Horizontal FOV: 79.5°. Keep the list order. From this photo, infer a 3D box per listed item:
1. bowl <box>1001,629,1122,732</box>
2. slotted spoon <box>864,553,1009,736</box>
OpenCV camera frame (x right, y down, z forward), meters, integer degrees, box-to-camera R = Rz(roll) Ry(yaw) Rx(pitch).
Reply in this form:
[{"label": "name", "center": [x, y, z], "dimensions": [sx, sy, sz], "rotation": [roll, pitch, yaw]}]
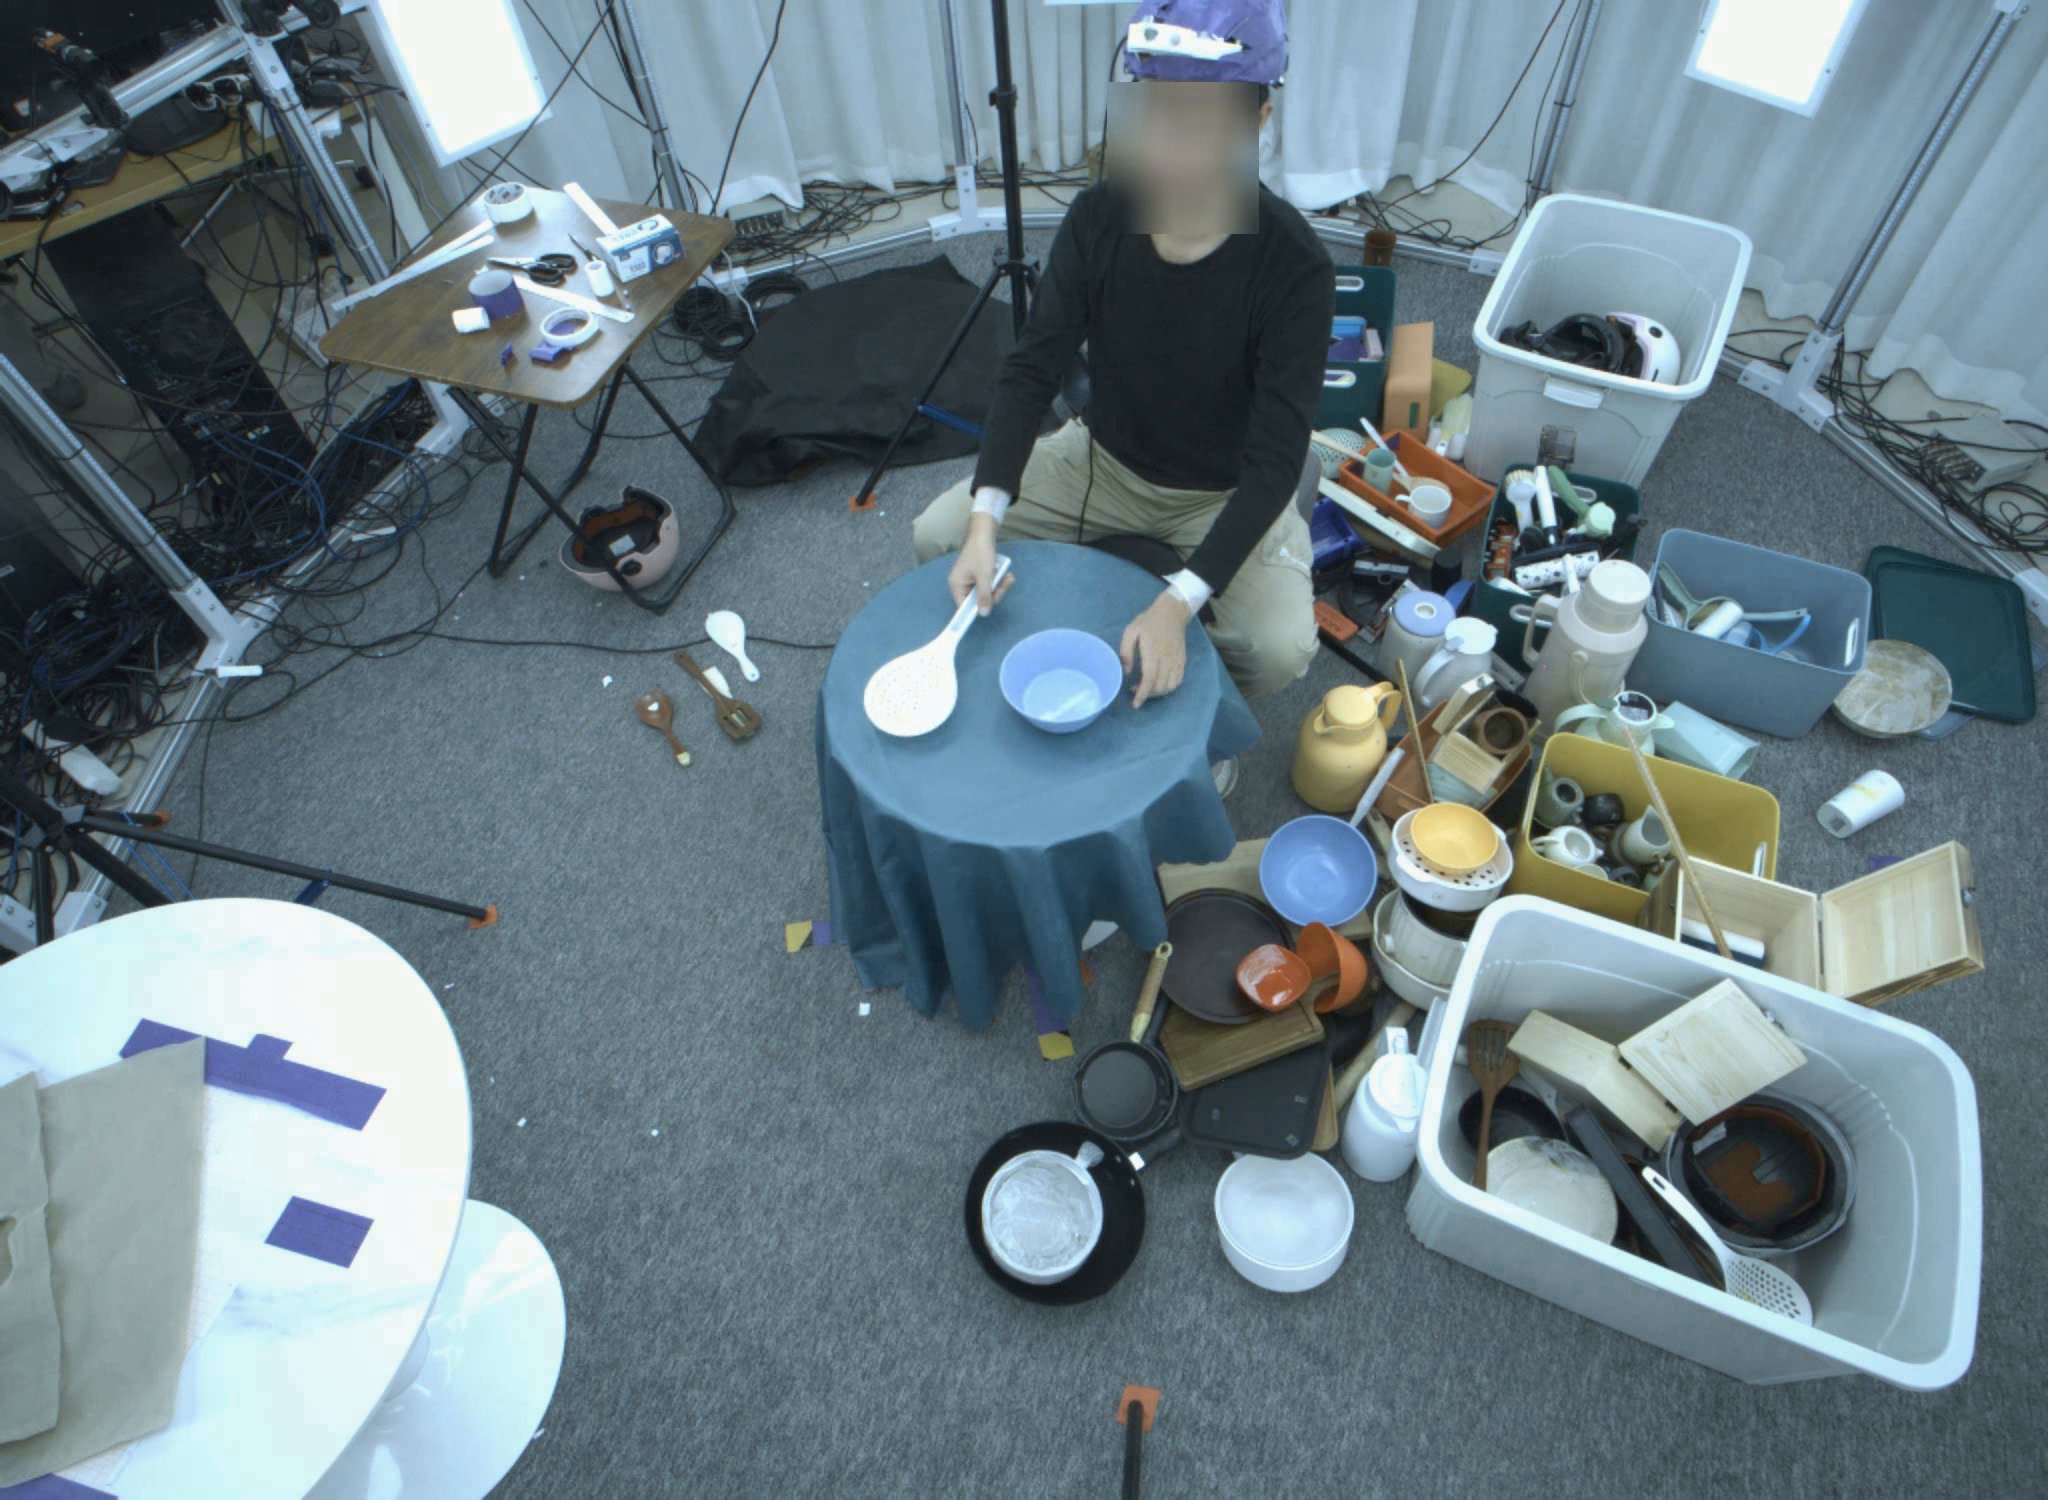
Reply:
[{"label": "bowl", "center": [0.056, -0.092, 1.808], "dimensions": [0.176, 0.071, 0.174], "rotation": [0, 54, 2]}, {"label": "slotted spoon", "center": [-0.117, -0.163, 1.847], "dimensions": [0.134, 0.046, 0.350], "rotation": [23, 72, 16]}]
